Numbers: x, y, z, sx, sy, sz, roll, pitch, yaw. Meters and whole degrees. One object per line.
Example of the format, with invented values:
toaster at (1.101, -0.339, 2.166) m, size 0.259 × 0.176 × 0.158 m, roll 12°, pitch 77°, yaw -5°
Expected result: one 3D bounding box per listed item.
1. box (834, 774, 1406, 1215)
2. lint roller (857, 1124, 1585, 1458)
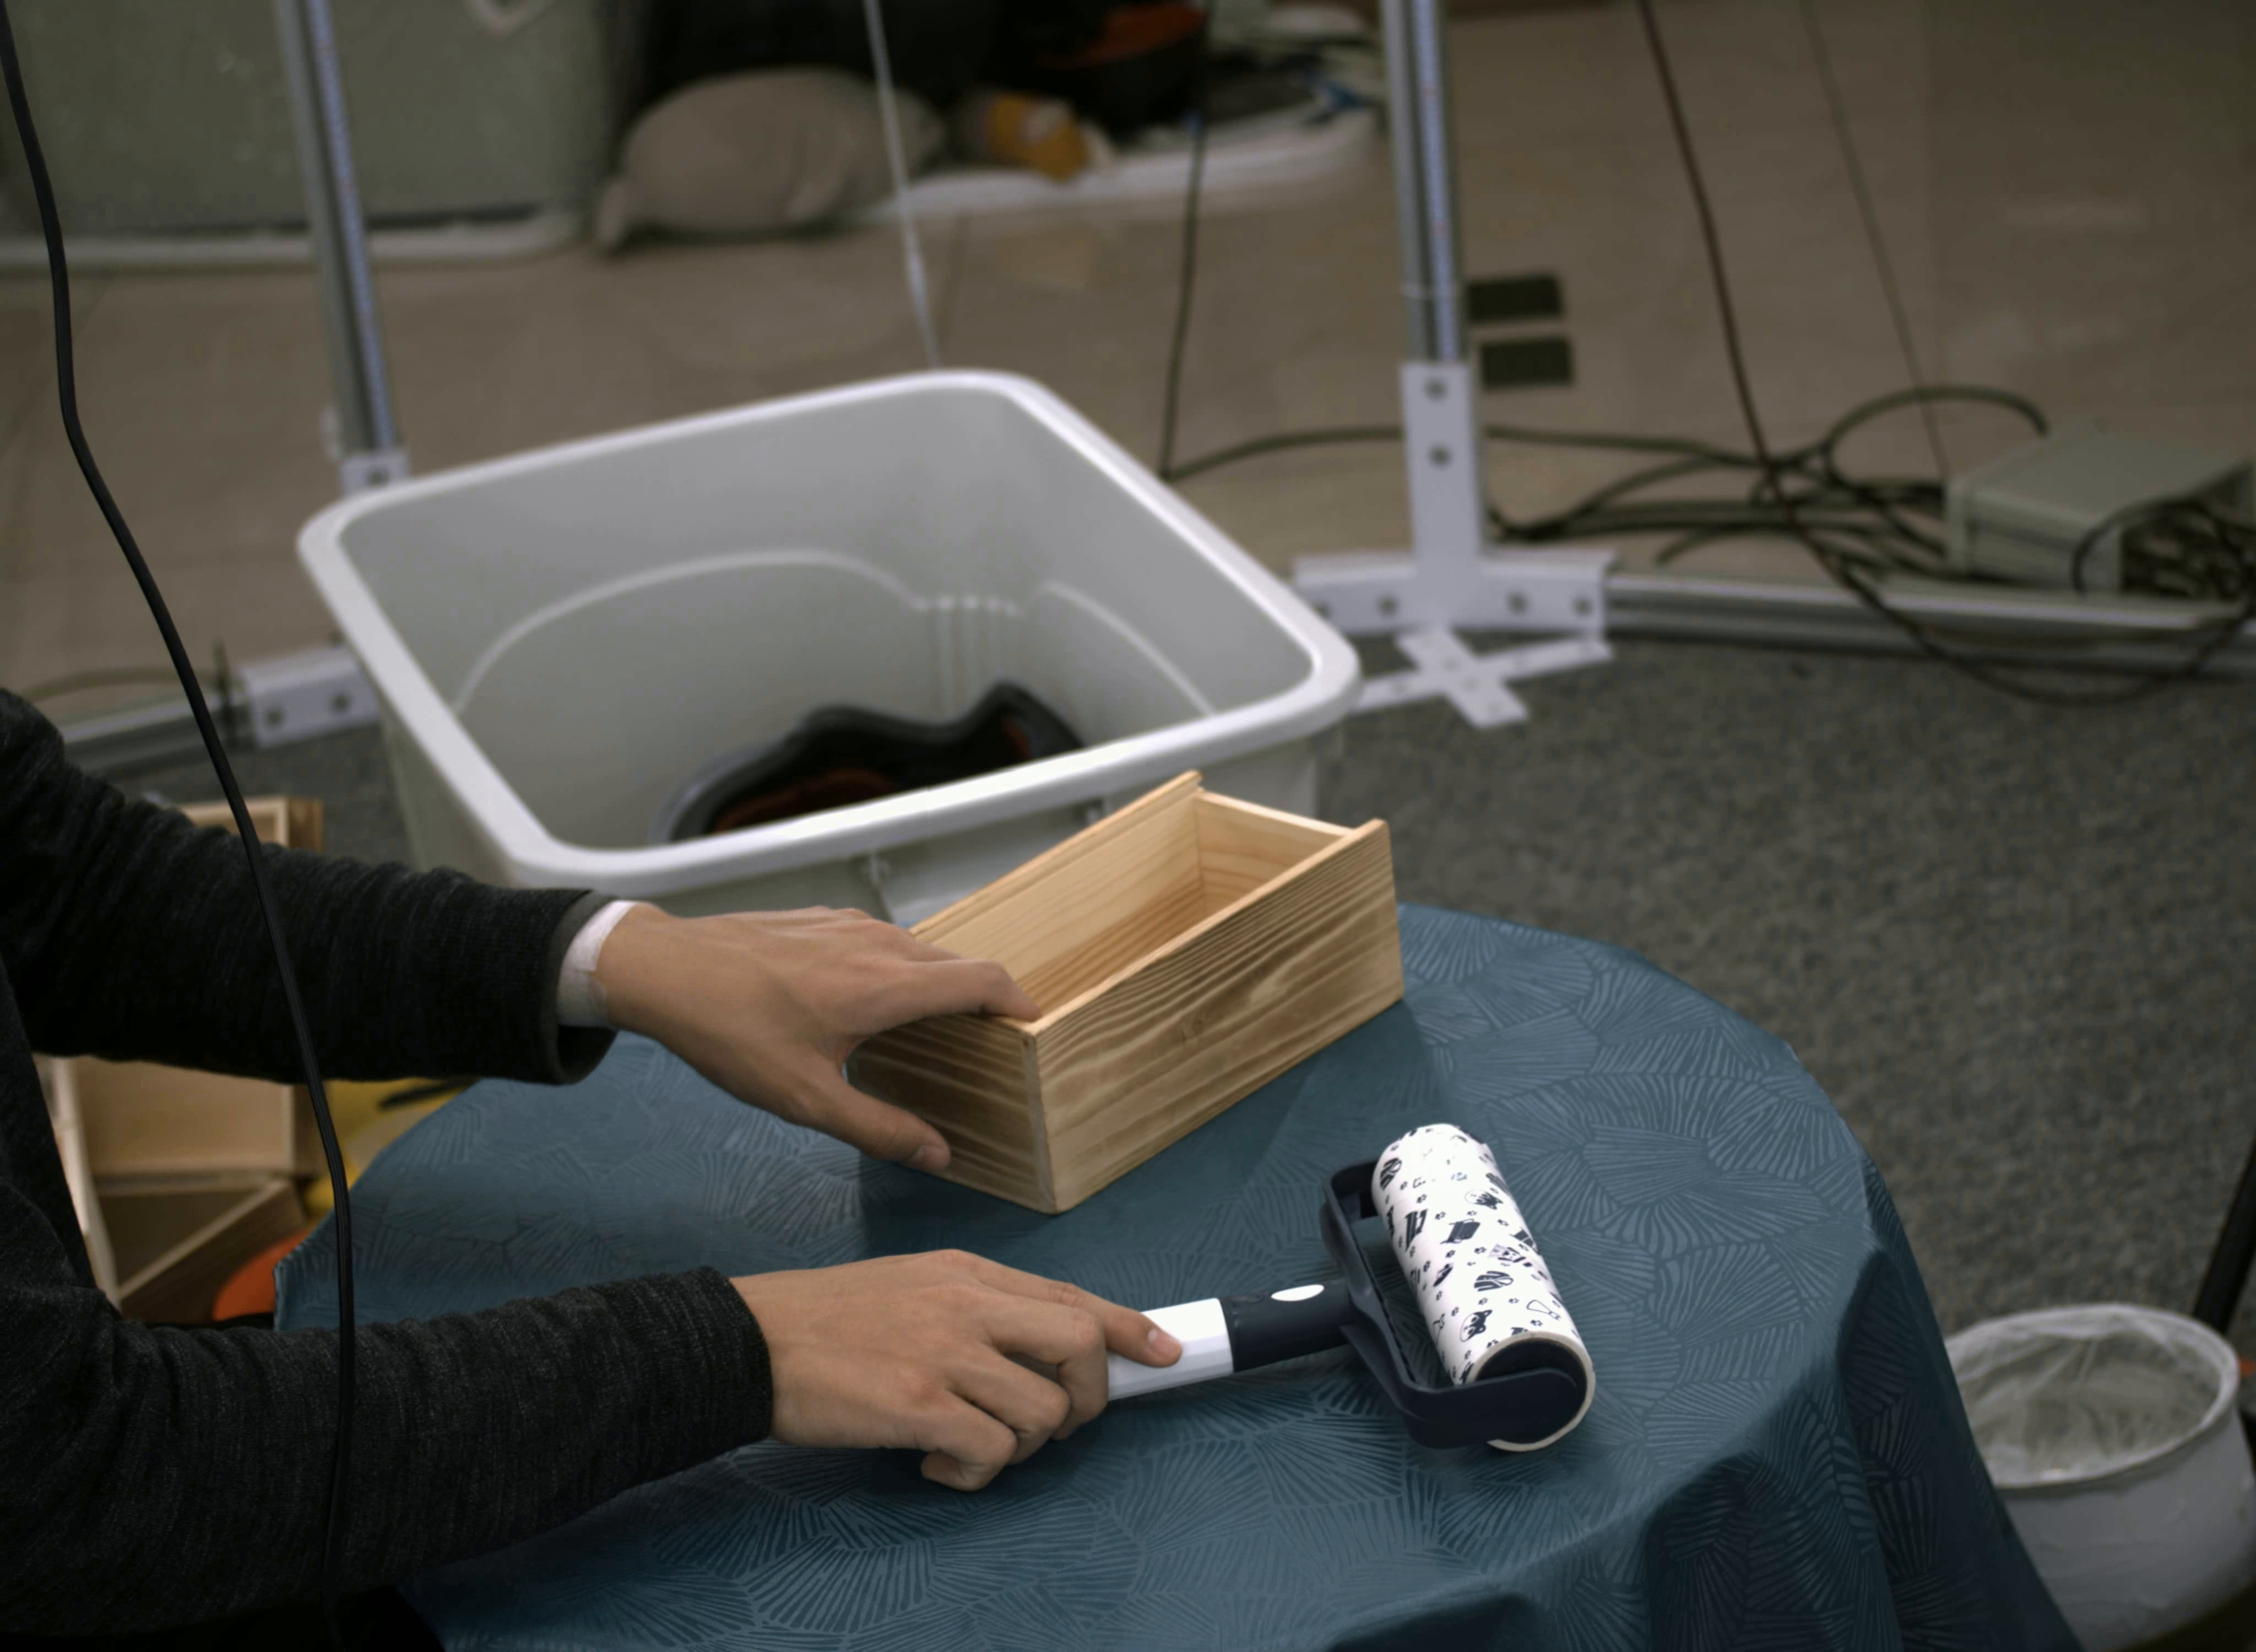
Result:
box at (-0.001, 0.063, 2.217) m, size 0.107 × 0.081 × 0.209 m, roll 16°, pitch 33°, yaw 39°
lint roller at (0.025, 0.180, 2.001) m, size 0.246 × 0.051 × 0.174 m, roll -10°, pitch 26°, yaw -6°
